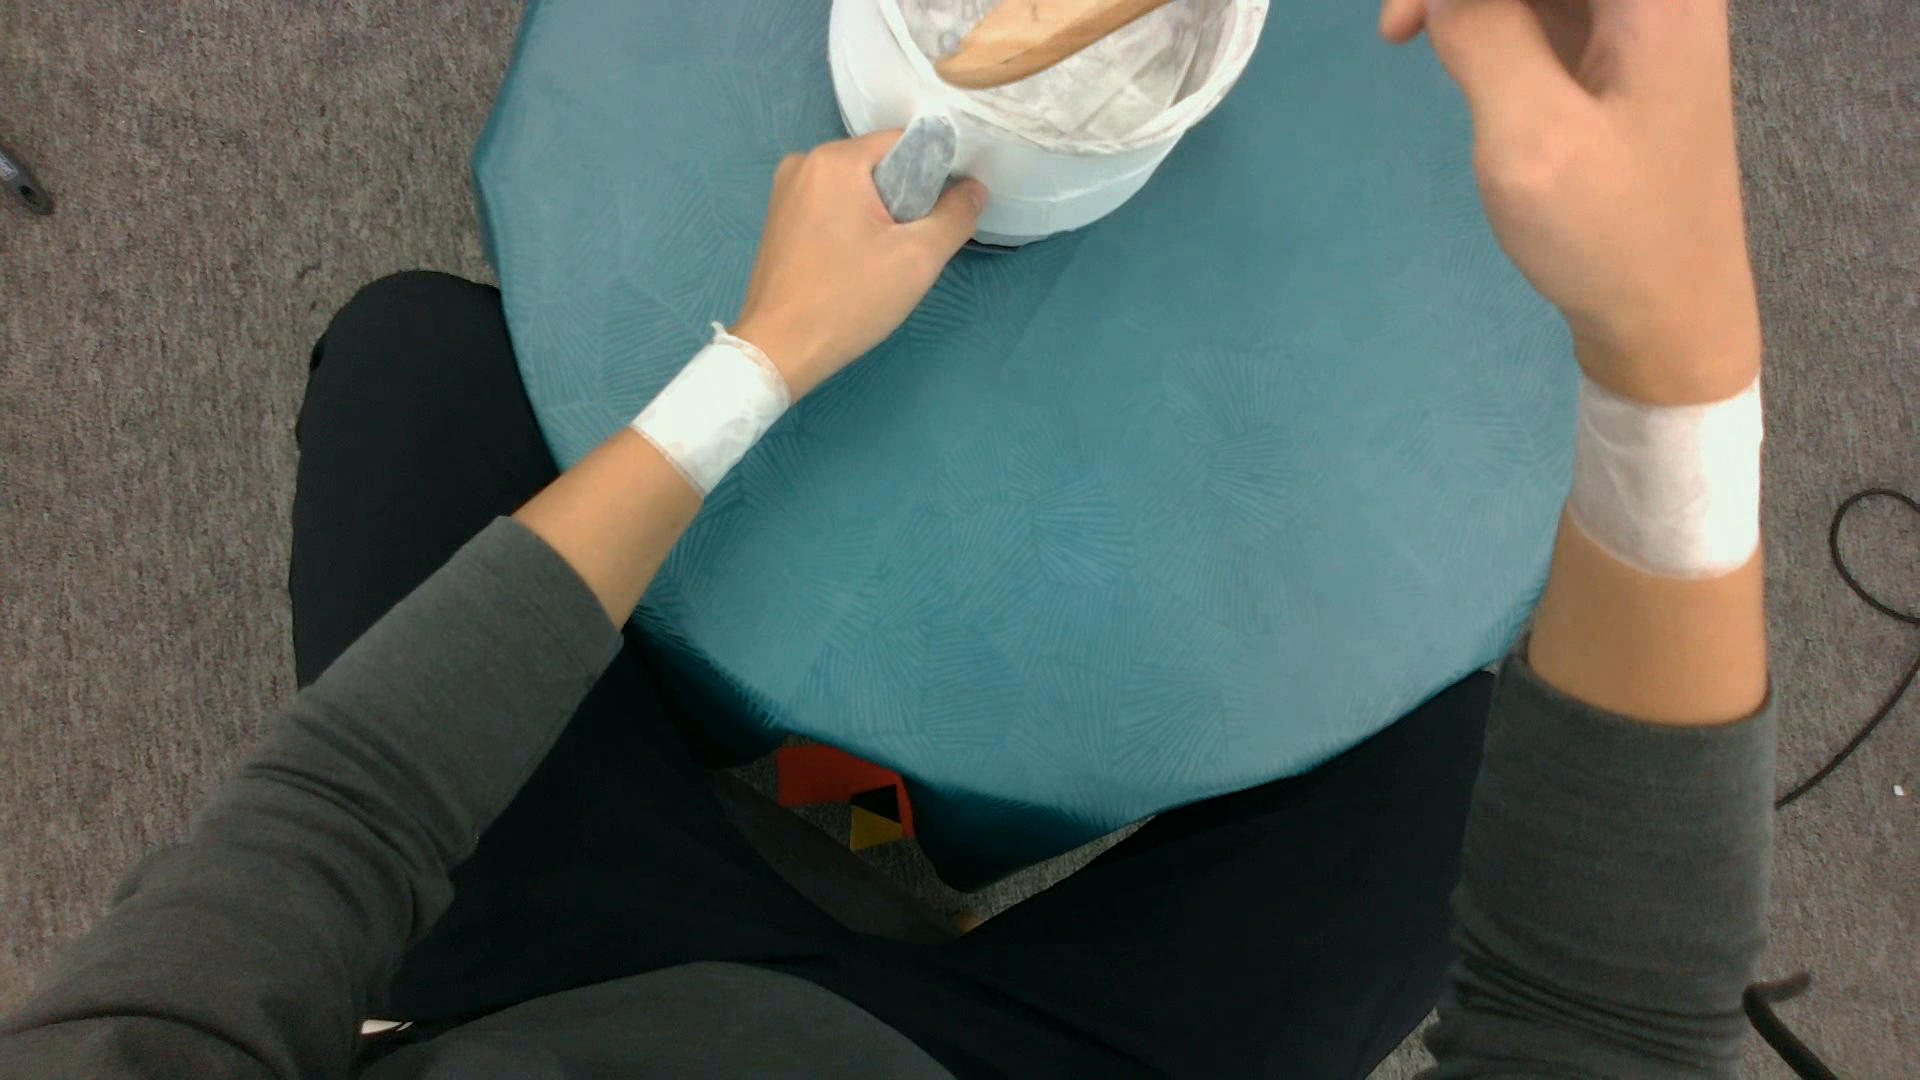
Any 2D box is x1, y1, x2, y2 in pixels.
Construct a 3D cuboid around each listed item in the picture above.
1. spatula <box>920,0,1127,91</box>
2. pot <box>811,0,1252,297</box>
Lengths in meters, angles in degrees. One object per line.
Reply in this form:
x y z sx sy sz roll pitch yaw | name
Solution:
0.088 -0.174 0.371 0.096 0.390 0.018 -48 113 -9 | spatula
0.014 -0.218 0.631 0.178 0.136 0.234 34 77 -6 | pot
